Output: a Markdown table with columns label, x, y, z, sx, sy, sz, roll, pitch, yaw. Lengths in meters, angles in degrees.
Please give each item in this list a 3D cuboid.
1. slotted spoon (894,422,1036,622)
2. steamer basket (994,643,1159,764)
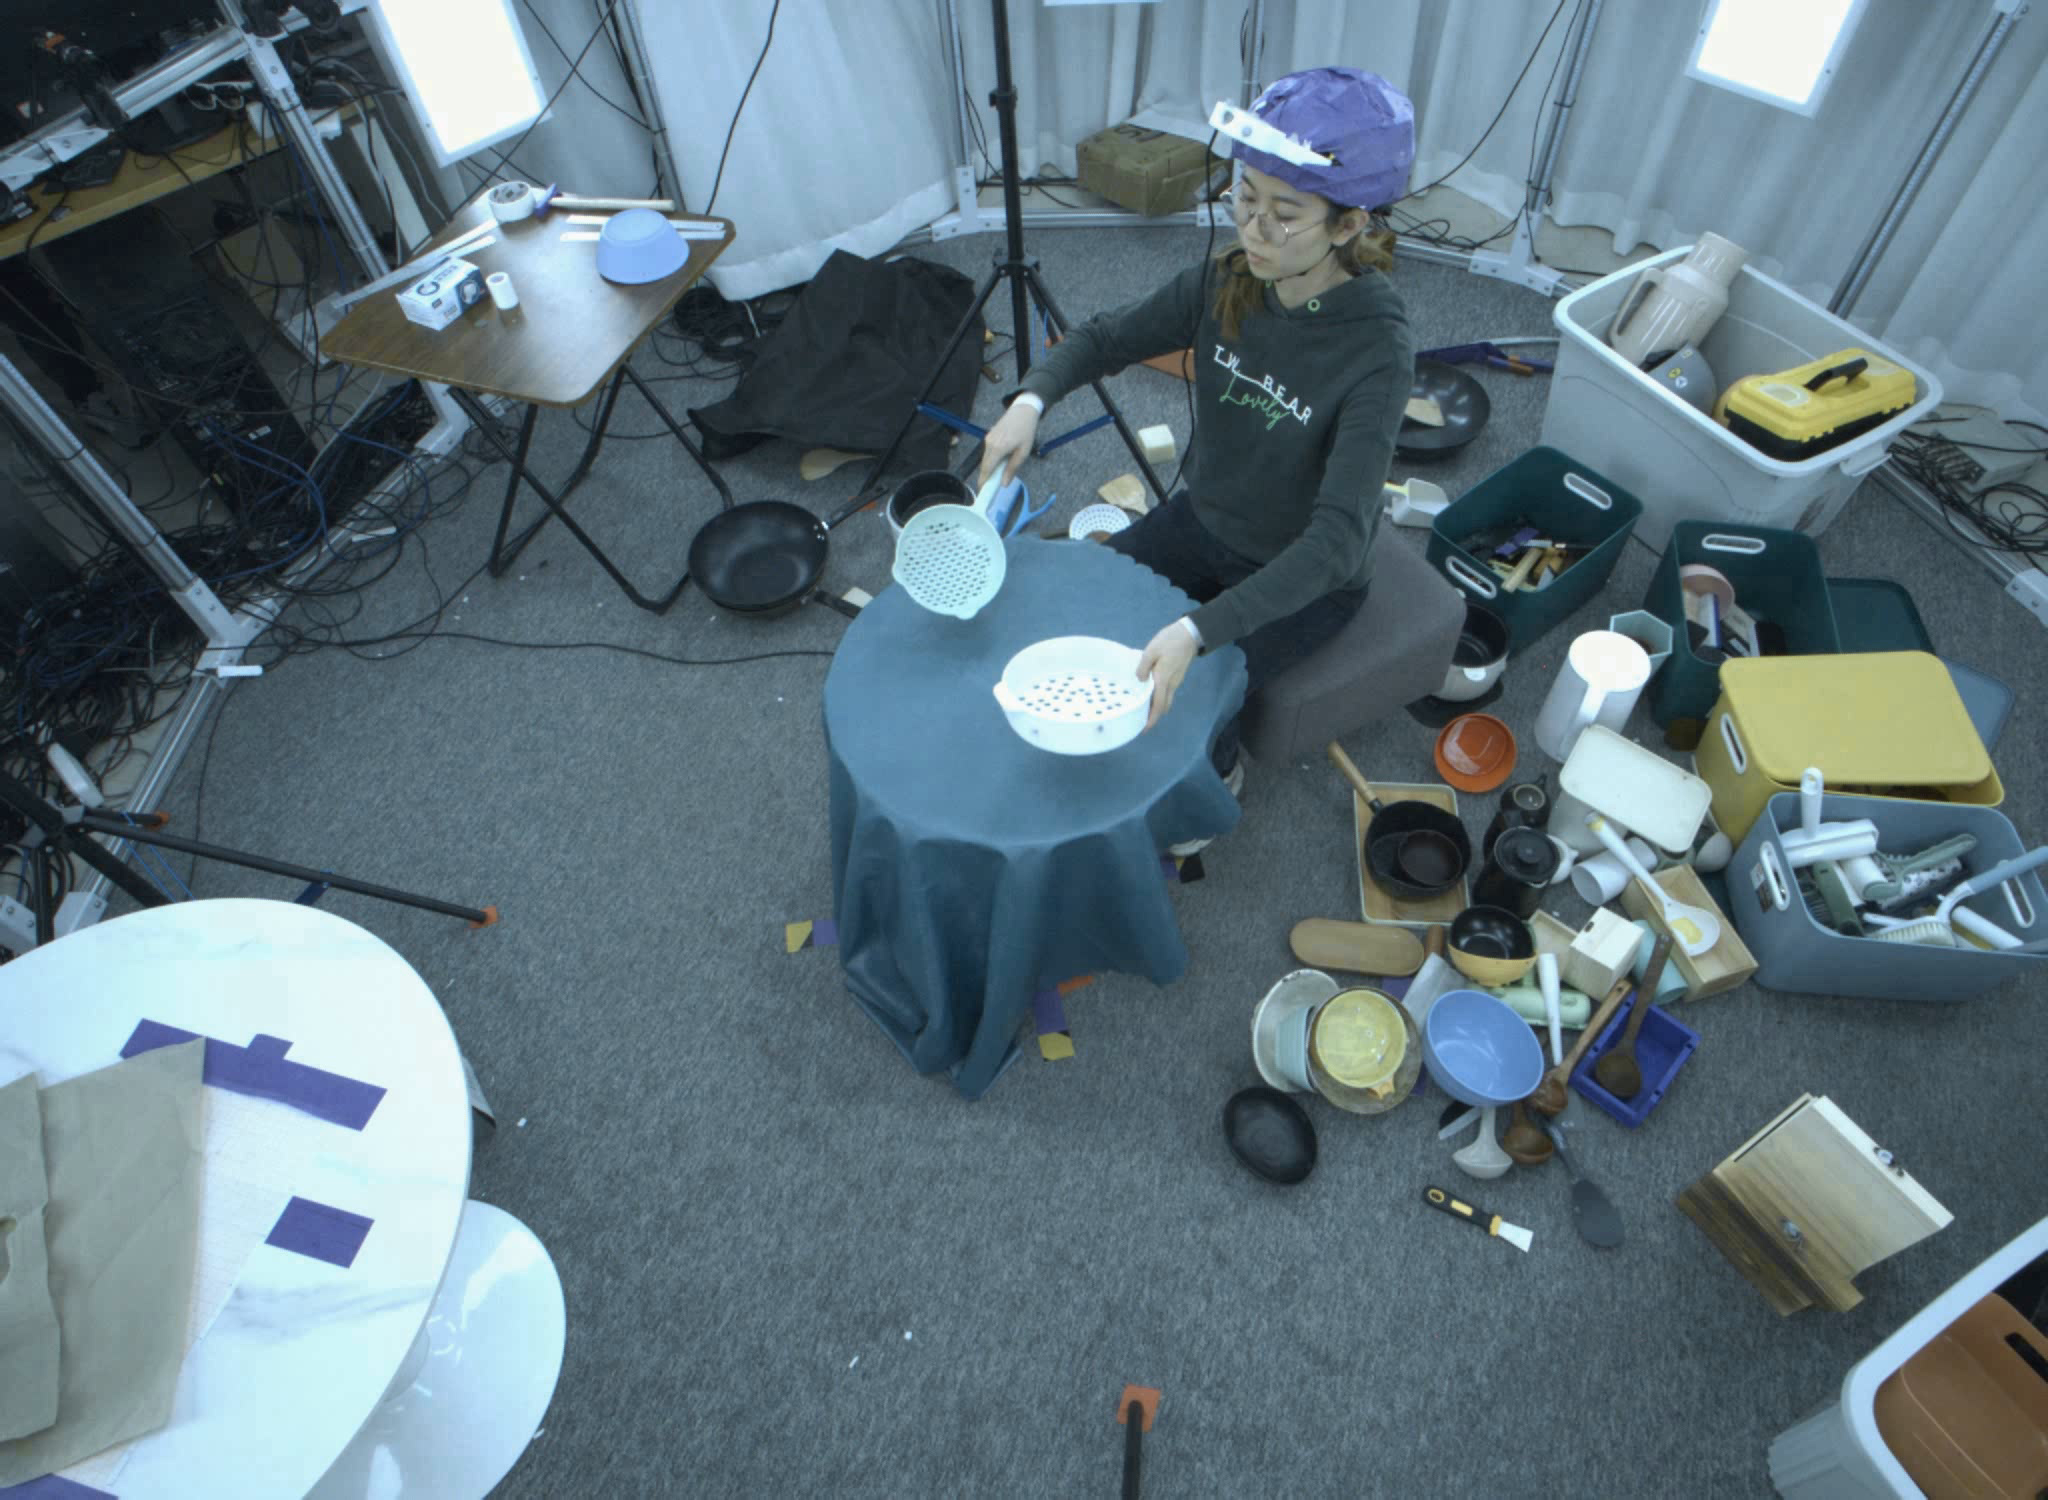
| label | x | y | z | sx | sy | sz | roll | pitch | yaw |
| --- | --- | --- | --- | --- | --- | --- | --- | --- | --- |
| slotted spoon | -0.067 | -0.364 | 1.868 | 0.171 | 0.074 | 0.359 | 30 | 84 | -14 |
| steamer basket | 0.071 | -0.062 | 1.663 | 0.233 | 0.070 | 0.197 | -16 | 42 | -19 |
